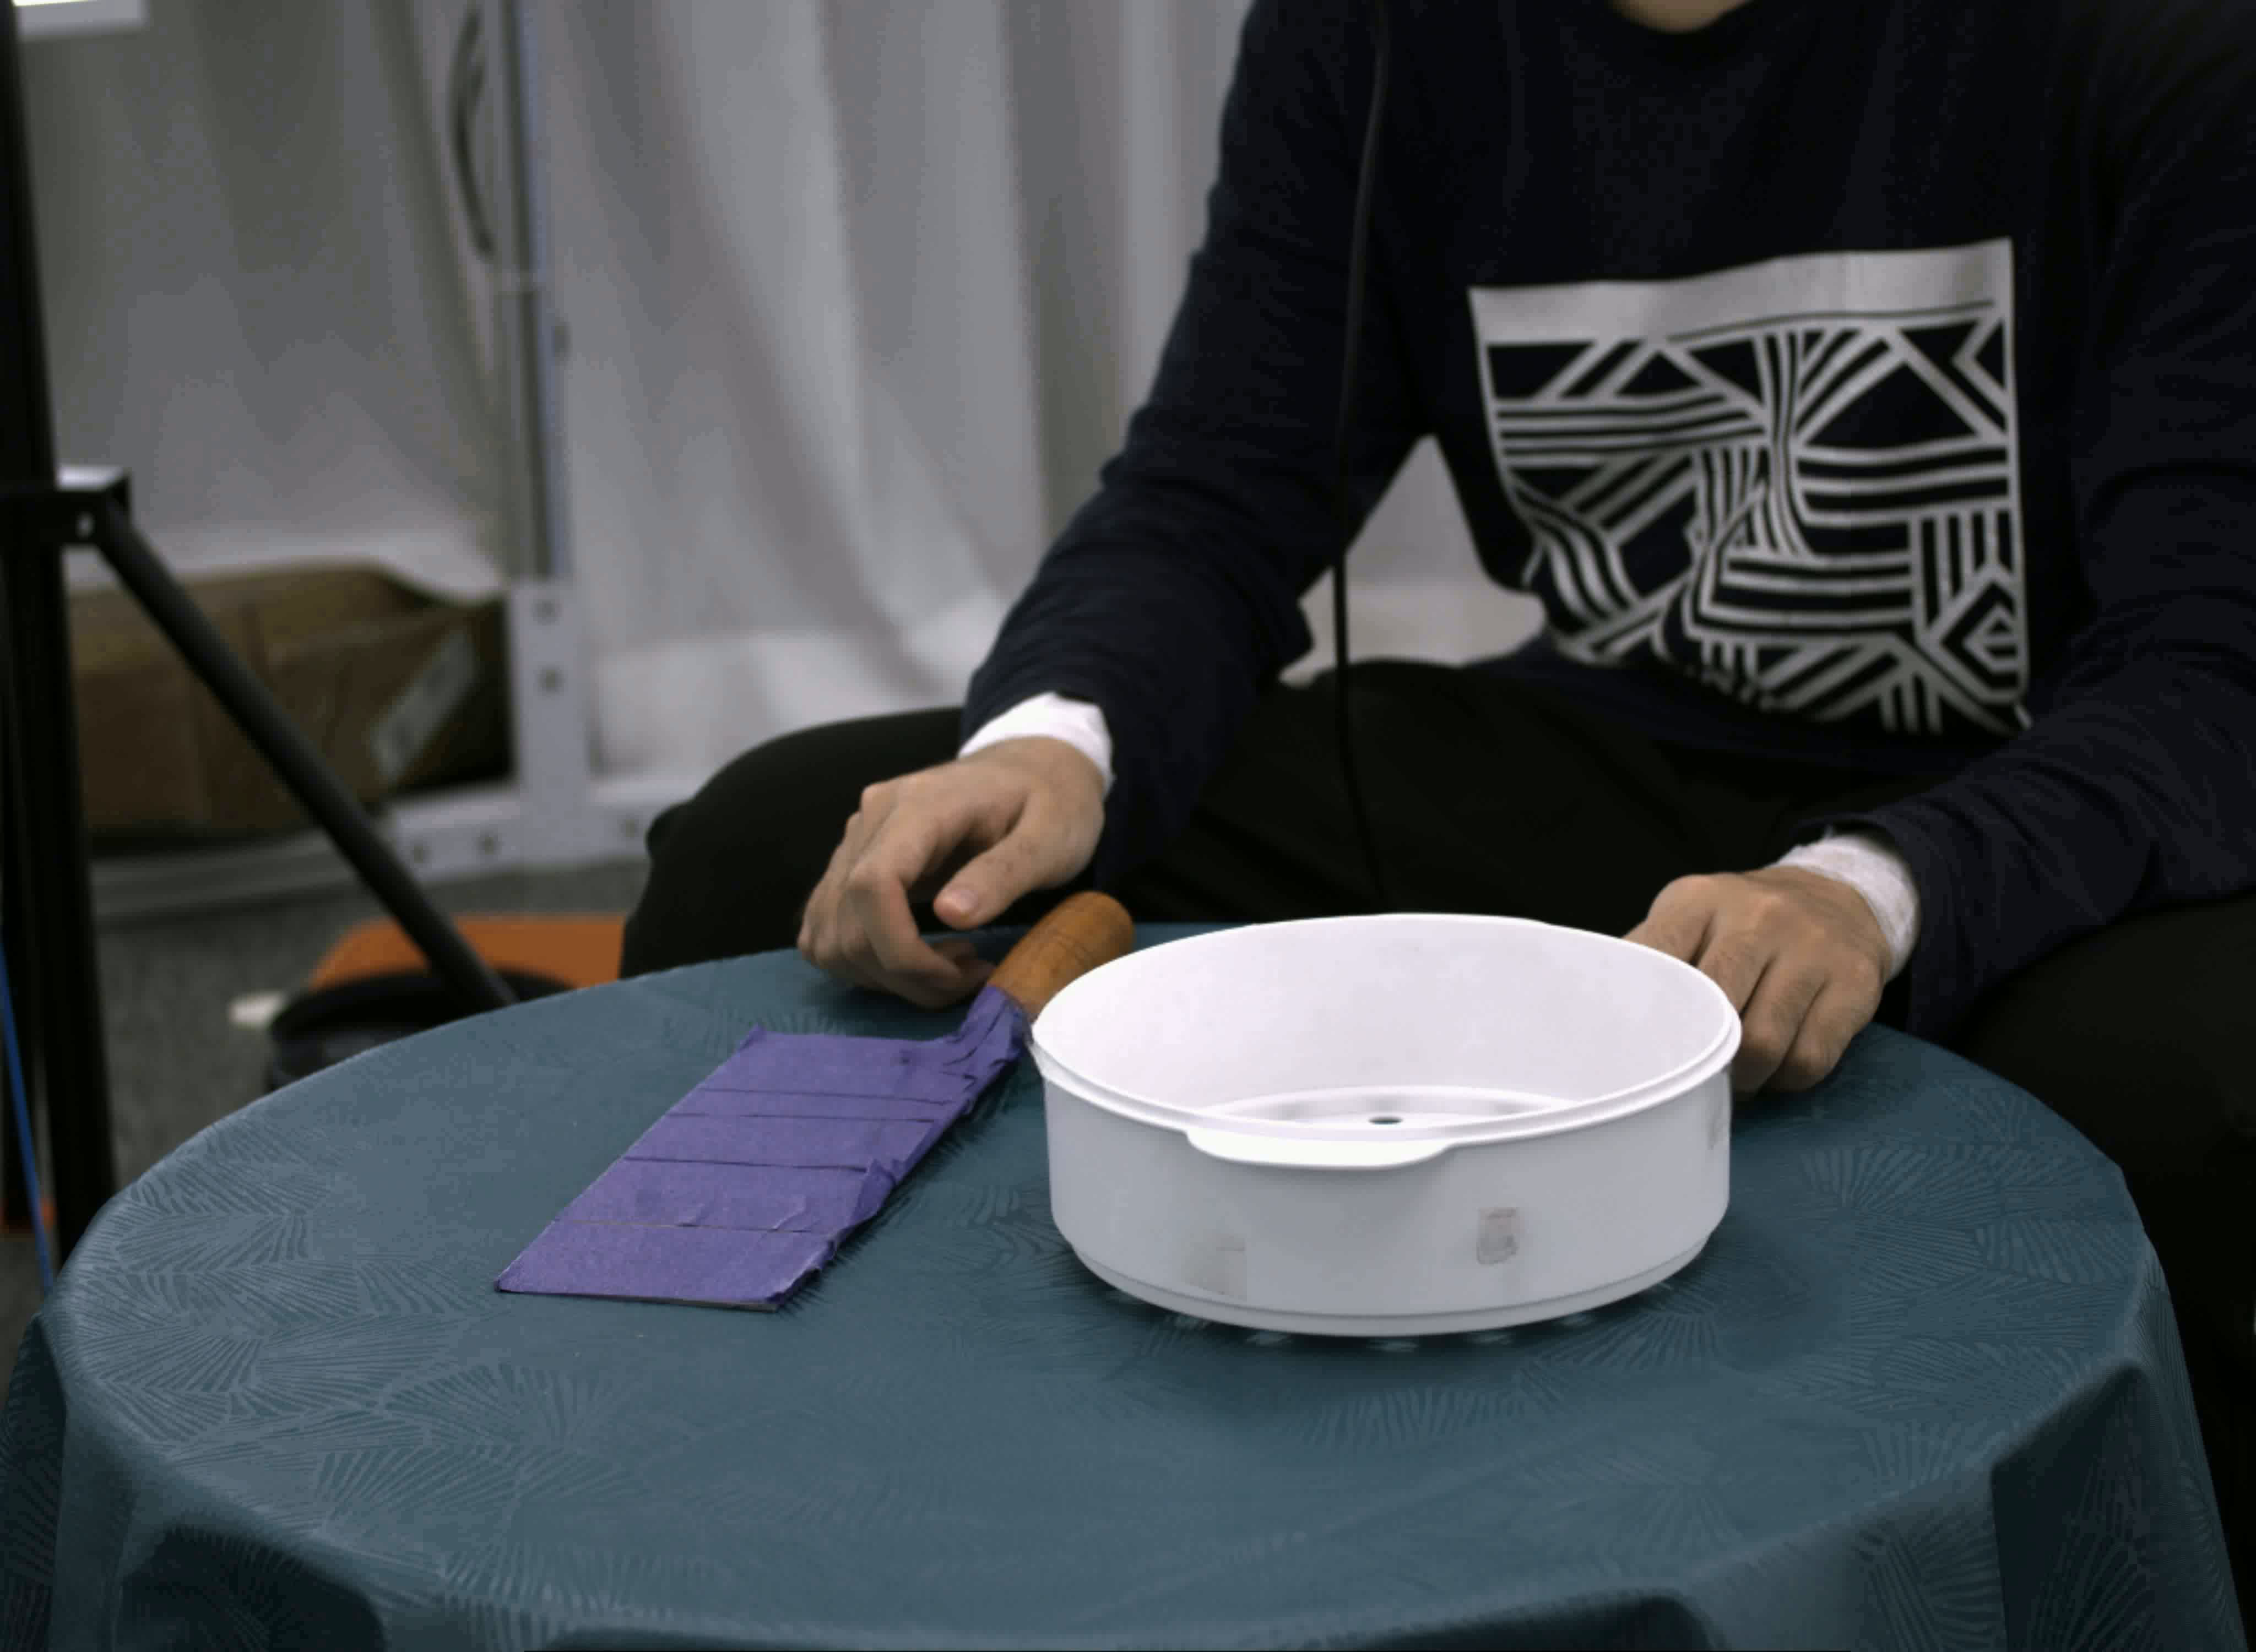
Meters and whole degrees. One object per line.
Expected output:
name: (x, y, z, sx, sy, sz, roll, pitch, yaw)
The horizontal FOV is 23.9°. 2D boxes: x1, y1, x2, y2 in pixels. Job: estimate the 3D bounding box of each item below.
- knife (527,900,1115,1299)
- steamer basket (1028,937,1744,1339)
knife: (-0.090, 0.080, 1.627, 0.105, 0.032, 0.312, 3, 17, 17)
steamer basket: (0.073, 0.088, 1.502, 0.203, 0.069, 0.228, 3, 14, 15)
